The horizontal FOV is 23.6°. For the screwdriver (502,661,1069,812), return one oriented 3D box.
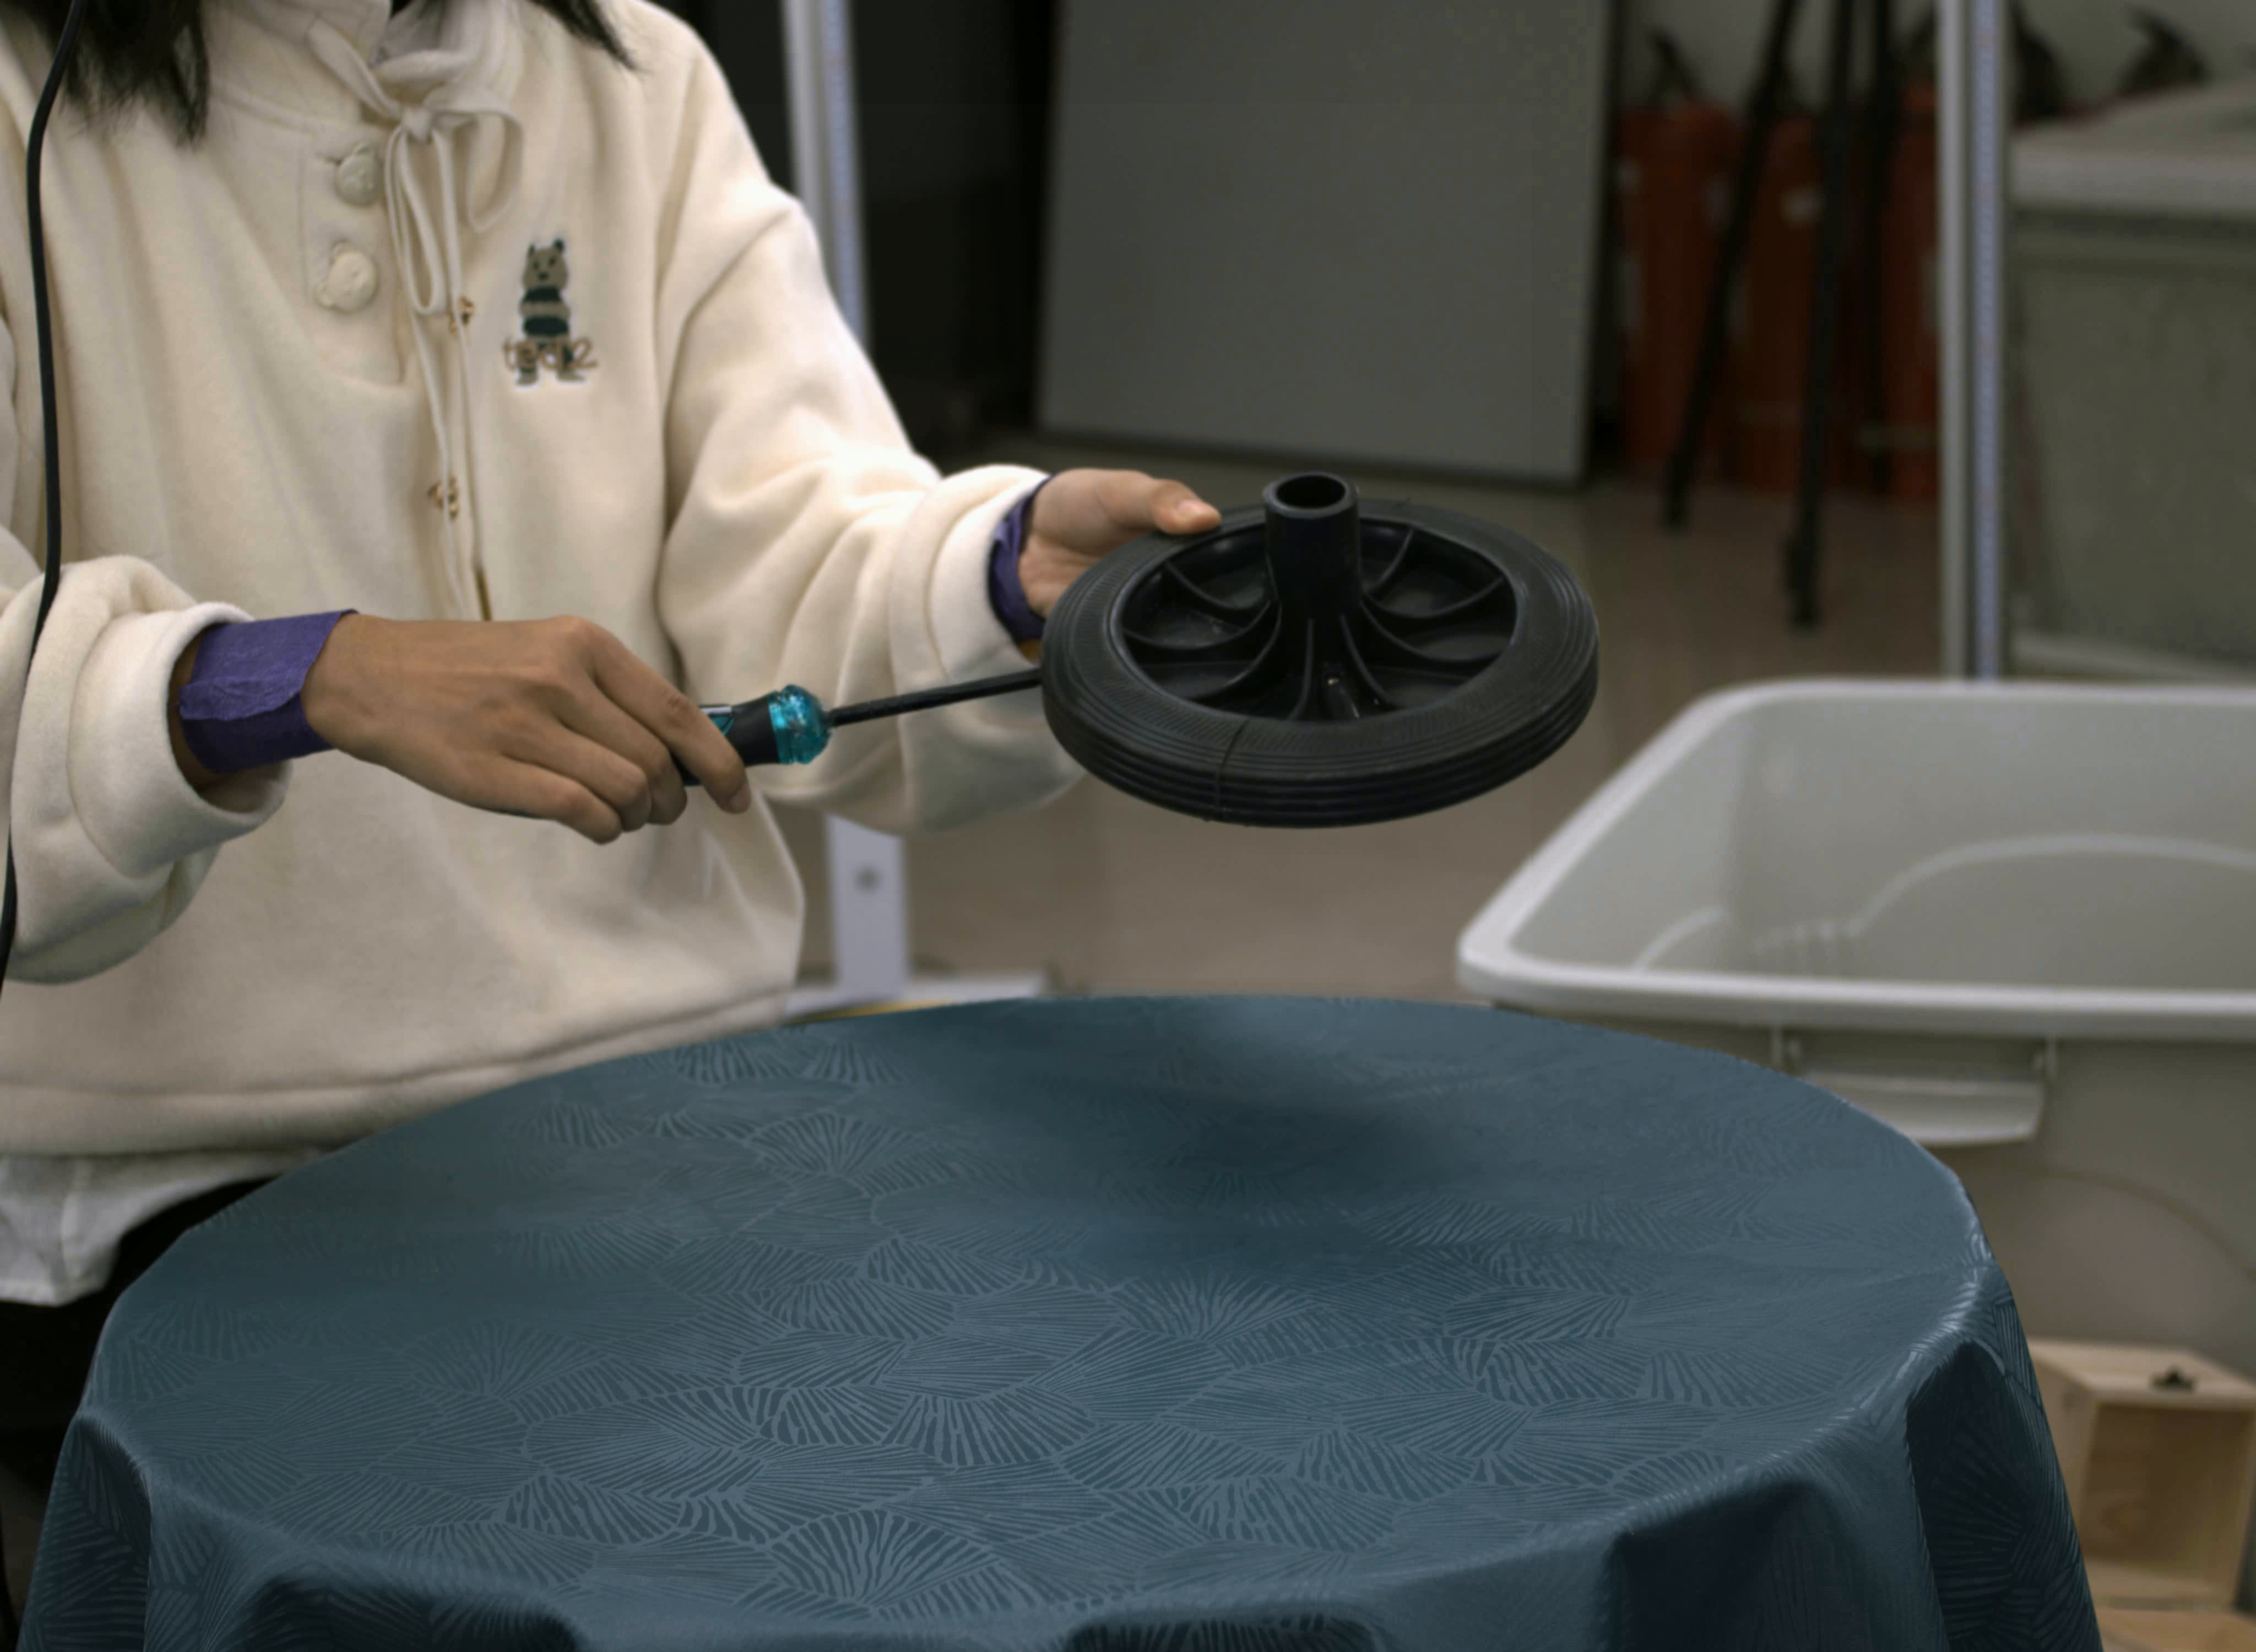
[{"bbox_3d":[-0.111,-0.033,1.770,0.187,0.034,0.034,-10,14,-2],"label":"screwdriver"}]

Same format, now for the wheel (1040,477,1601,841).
[{"bbox_3d":[0.063,-0.072,1.785,0.184,0.079,0.192,-21,37,-24],"label":"wheel"}]
